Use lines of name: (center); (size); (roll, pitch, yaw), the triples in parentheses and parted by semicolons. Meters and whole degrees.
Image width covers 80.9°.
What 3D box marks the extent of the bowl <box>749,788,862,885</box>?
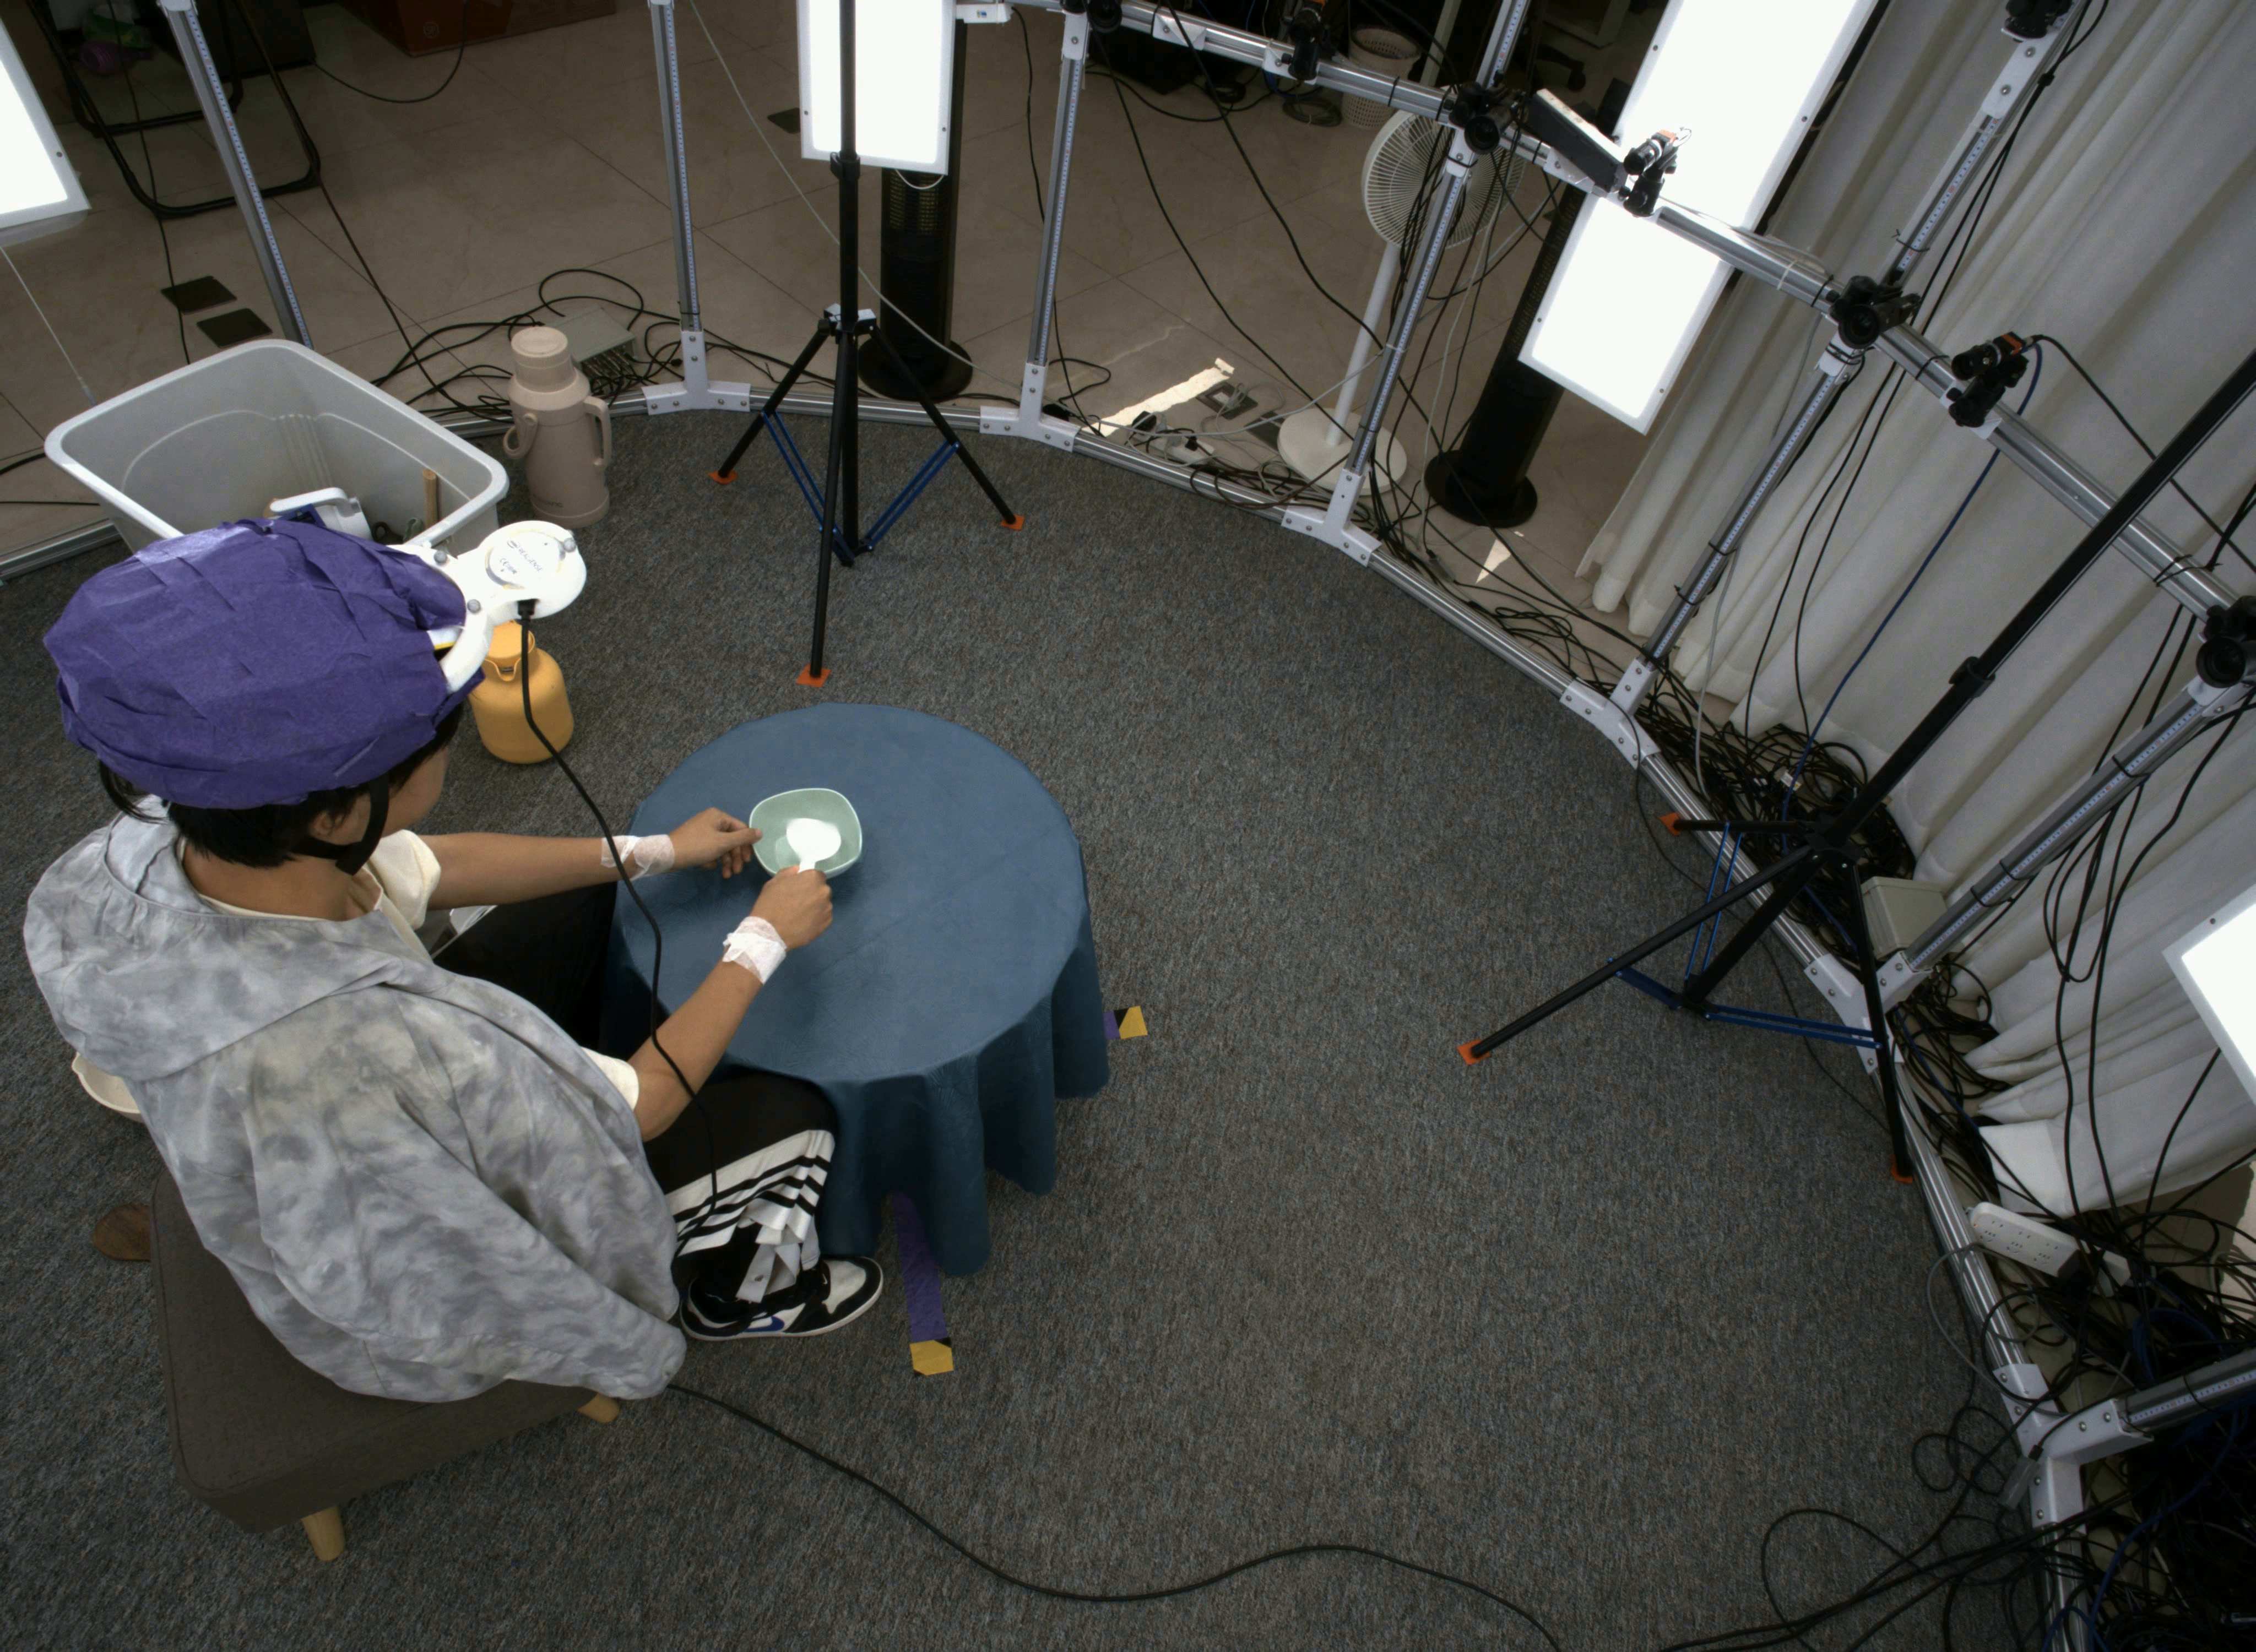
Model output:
bowl: (-0.416, 0.023, 1.674); (0.151, 0.060, 0.149); (9, 52, -10)

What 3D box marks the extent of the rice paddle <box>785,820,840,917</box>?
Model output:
rice paddle: (-0.393, 0.041, 1.593); (0.069, 0.030, 0.200); (18, 27, -16)
